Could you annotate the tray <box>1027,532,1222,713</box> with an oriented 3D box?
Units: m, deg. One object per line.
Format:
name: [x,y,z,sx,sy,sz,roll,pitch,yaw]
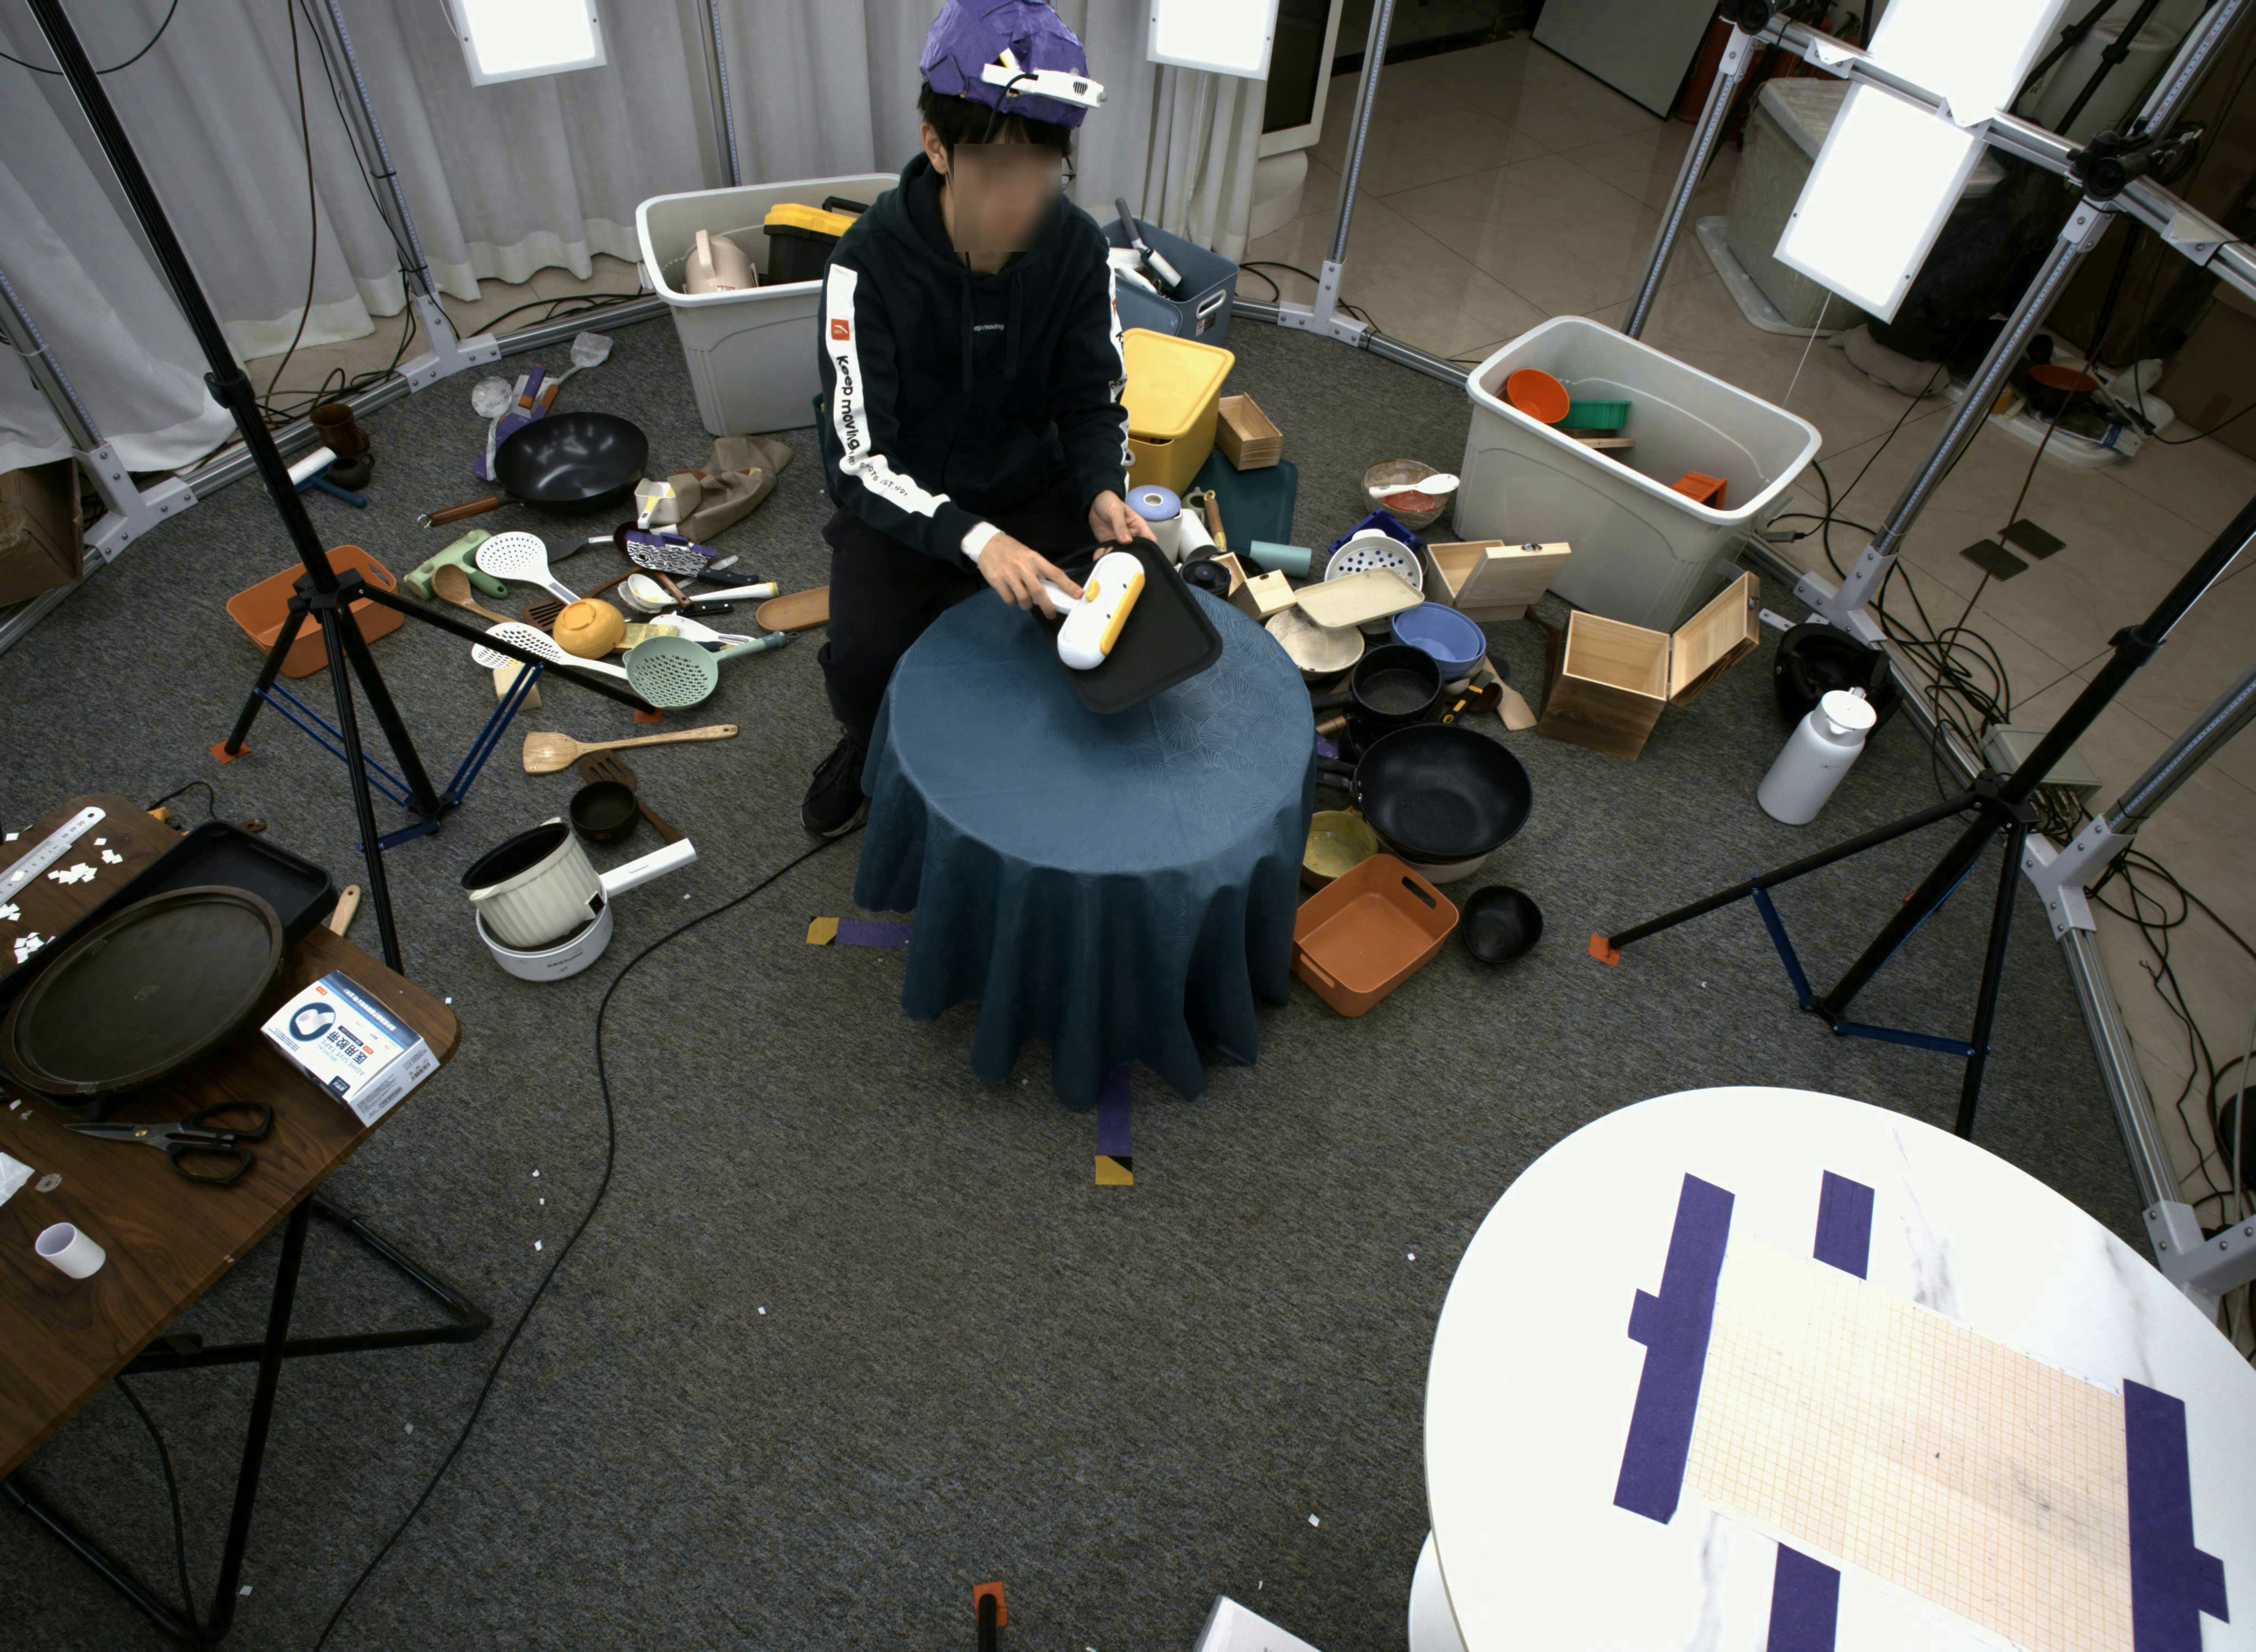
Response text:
tray: [-0.015,-0.297,1.808,0.211,0.009,0.333,-27,52,-2]

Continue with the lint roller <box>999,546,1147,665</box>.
lint roller: [-0.087,-0.320,1.803,0.193,0.072,0.196,9,63,22]
